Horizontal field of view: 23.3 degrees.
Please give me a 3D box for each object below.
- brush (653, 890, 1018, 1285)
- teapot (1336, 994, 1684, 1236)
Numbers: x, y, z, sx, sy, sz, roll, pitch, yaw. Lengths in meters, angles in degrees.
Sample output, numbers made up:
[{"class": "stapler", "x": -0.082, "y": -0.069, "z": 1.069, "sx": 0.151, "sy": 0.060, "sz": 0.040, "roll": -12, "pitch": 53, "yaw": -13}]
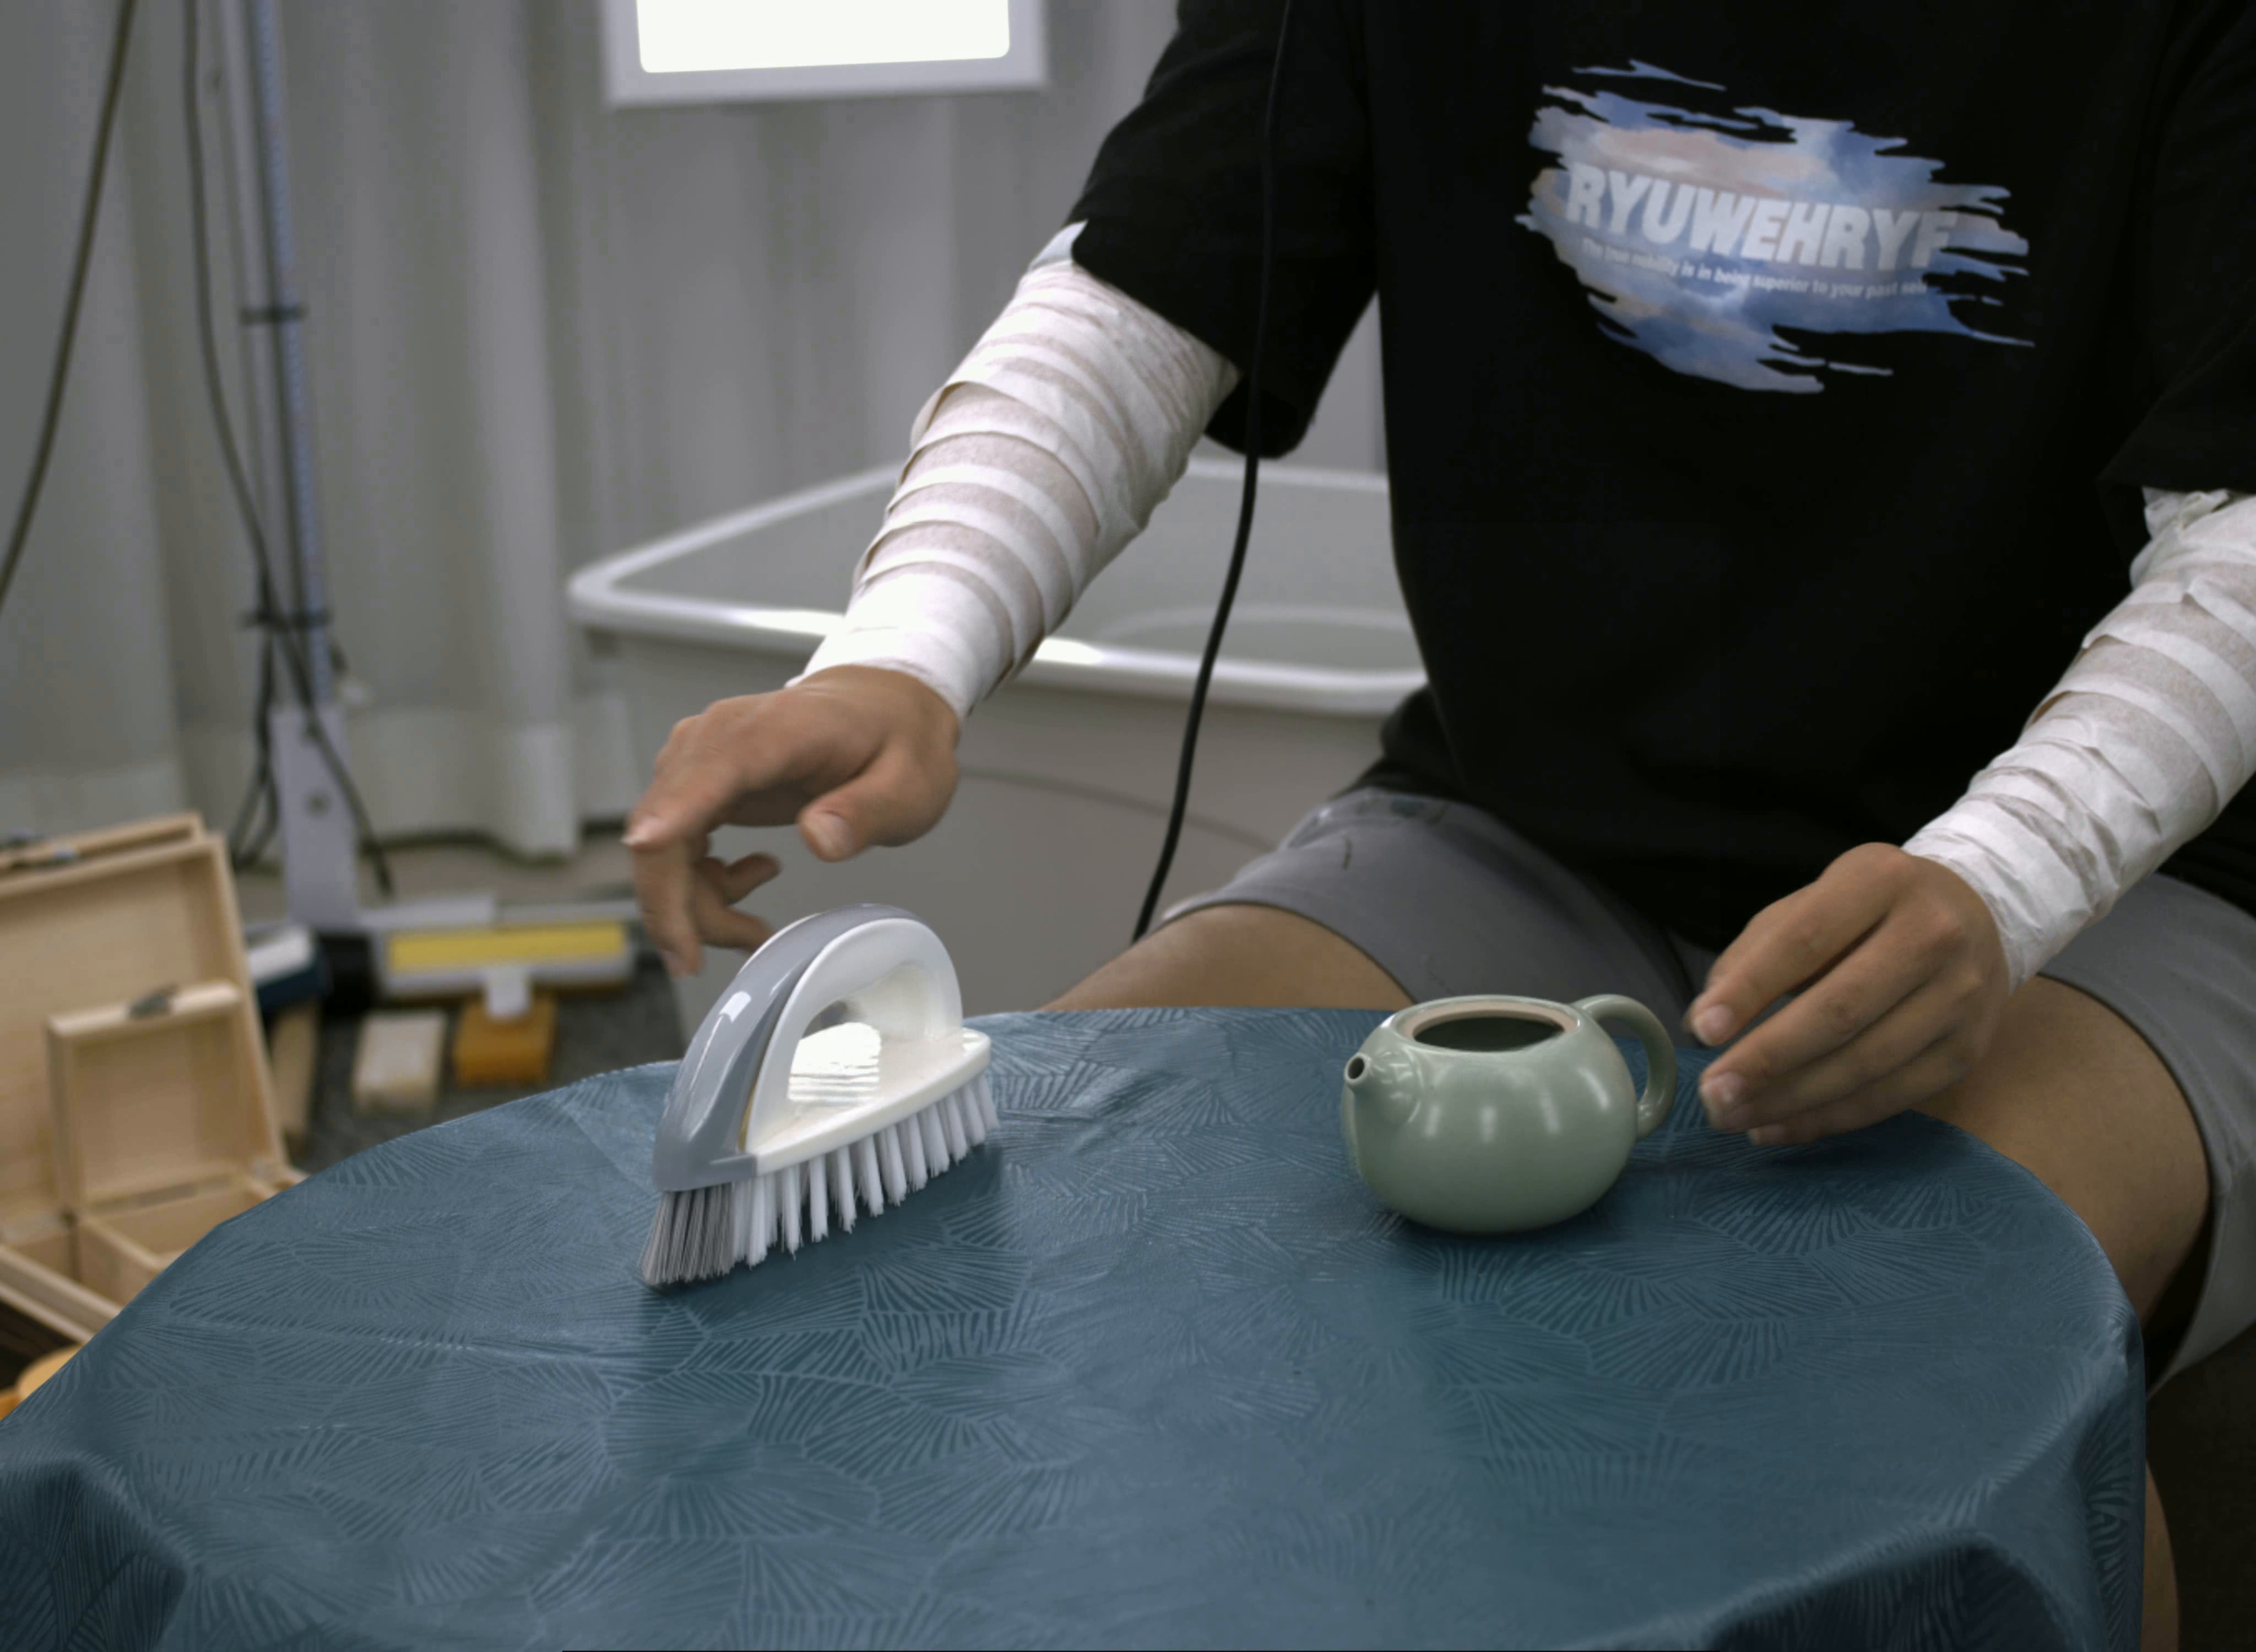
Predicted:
[{"class": "brush", "x": -0.100, "y": 0.076, "z": 1.700, "sx": 0.061, "sy": 0.094, "sz": 0.176, "roll": 1, "pitch": 16, "yaw": 29}, {"class": "teapot", "x": 0.118, "y": 0.087, "z": 1.678, "sx": 0.128, "sy": 0.061, "sz": 0.092, "roll": -11, "pitch": 14, "yaw": -30}]
